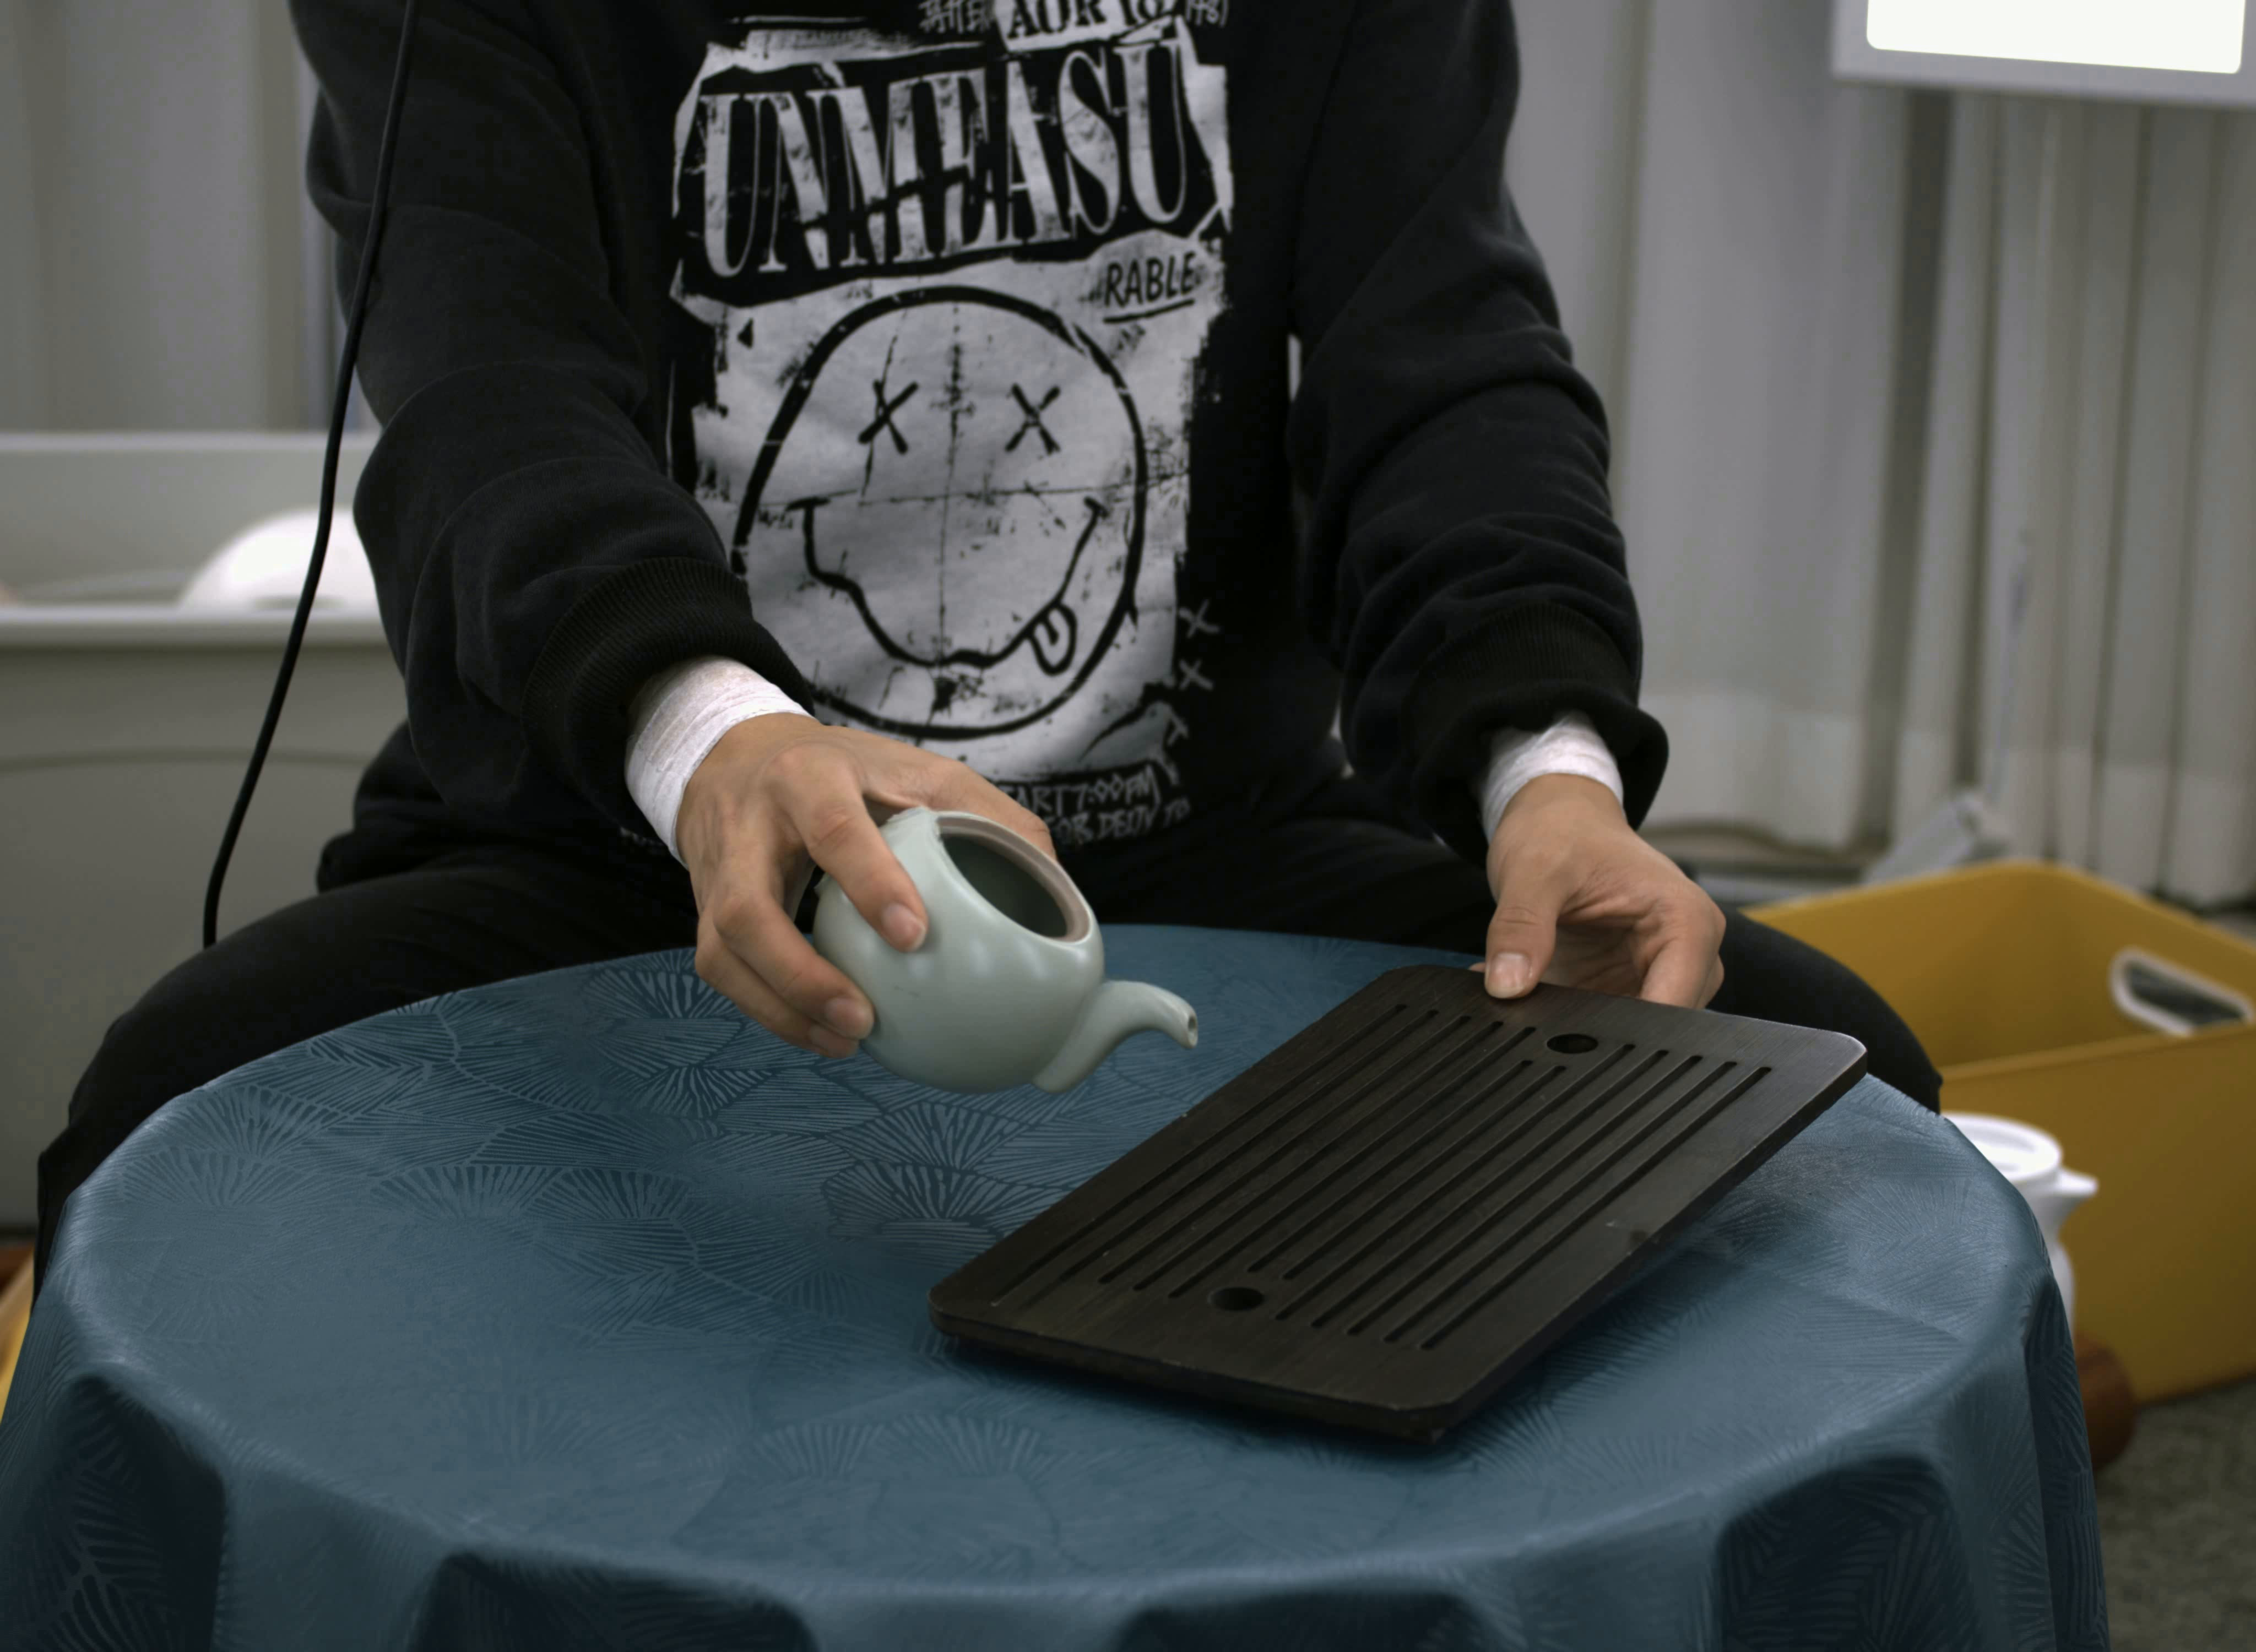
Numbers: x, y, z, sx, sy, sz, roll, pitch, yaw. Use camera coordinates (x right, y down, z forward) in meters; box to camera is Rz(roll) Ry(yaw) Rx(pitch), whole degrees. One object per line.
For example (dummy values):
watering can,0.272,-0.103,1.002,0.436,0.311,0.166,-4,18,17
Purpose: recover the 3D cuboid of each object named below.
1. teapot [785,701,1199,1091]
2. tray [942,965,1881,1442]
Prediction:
teapot,-0.050,0.035,1.552,0.143,0.075,0.088,45,22,5
tray,0.091,0.108,1.568,0.168,0.019,0.306,9,22,29
